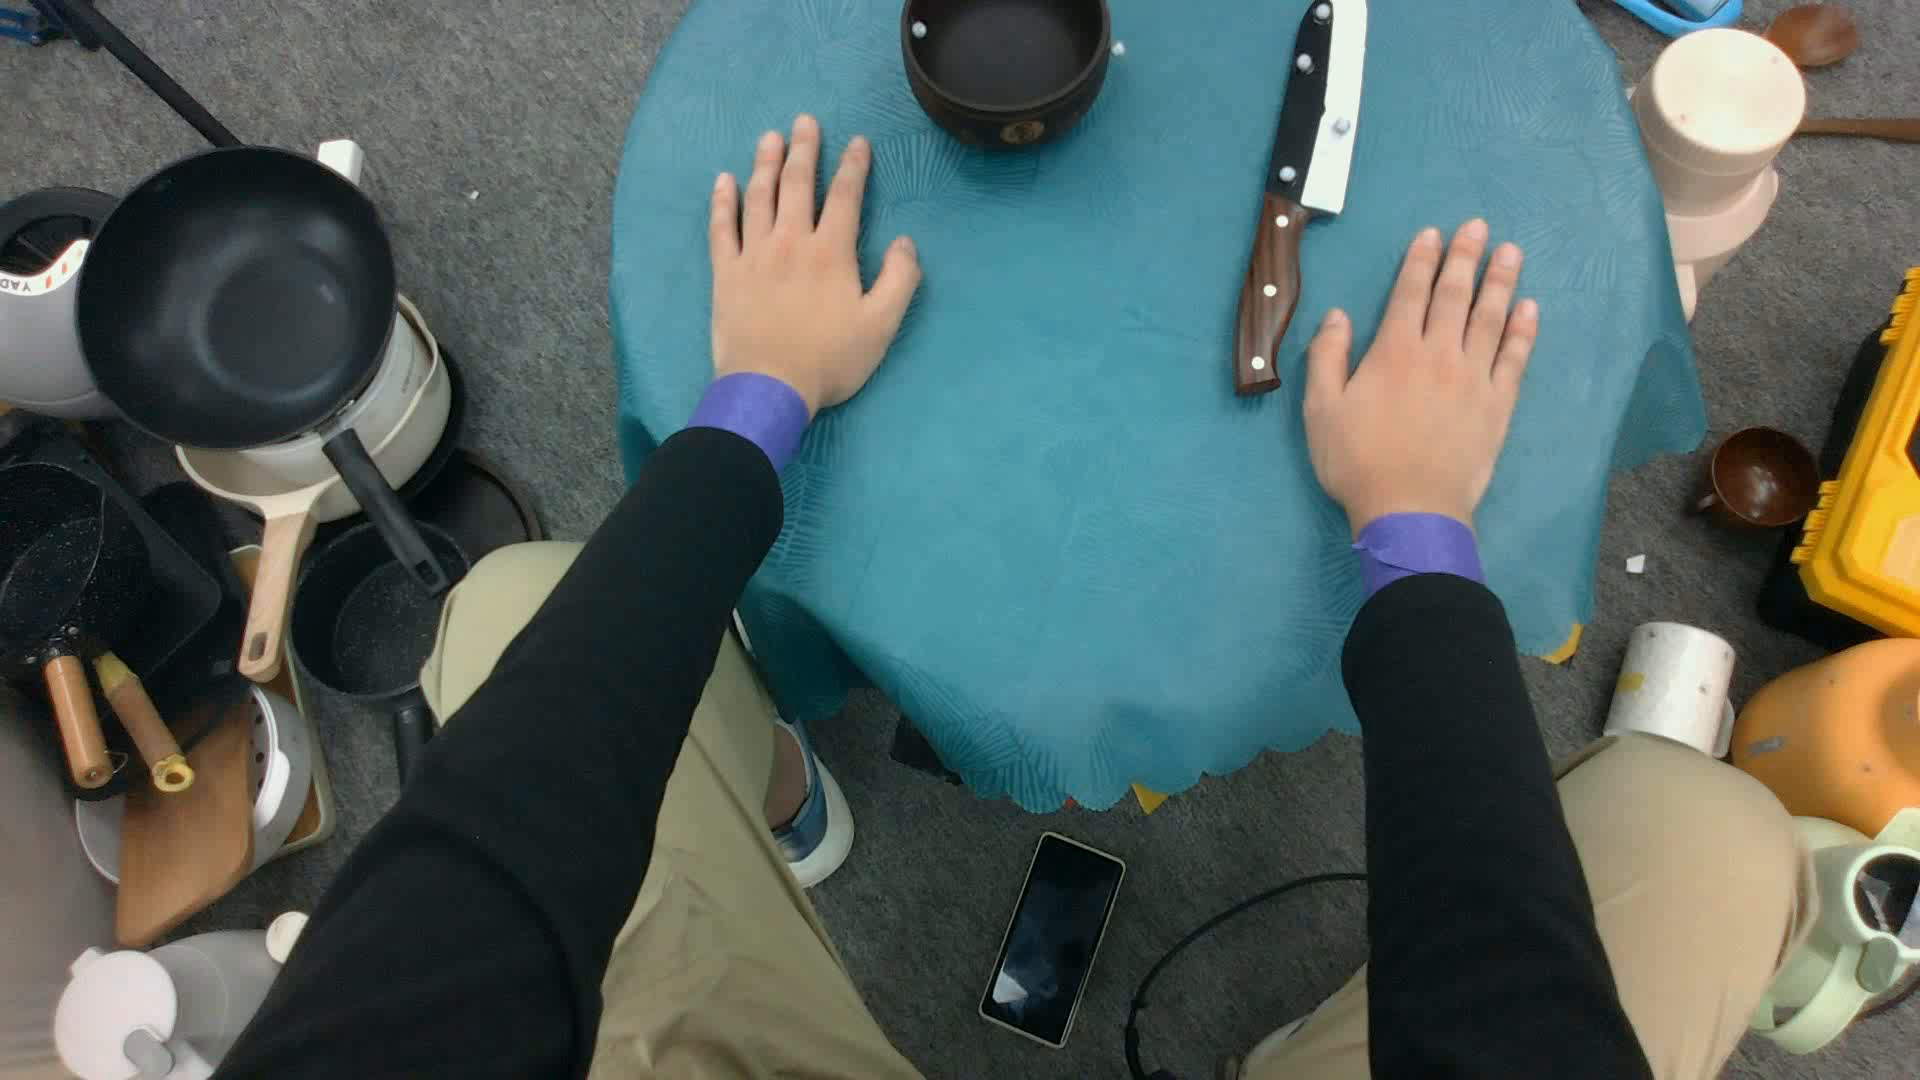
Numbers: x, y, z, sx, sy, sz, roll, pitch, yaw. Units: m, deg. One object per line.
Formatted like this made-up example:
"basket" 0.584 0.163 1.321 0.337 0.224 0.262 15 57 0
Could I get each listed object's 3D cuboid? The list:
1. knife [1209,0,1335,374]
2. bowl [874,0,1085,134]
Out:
"knife" 0.182 -0.222 0.789 0.050 0.020 0.290 15 72 2
"bowl" 0.011 -0.285 0.787 0.118 0.069 0.118 0 74 2
